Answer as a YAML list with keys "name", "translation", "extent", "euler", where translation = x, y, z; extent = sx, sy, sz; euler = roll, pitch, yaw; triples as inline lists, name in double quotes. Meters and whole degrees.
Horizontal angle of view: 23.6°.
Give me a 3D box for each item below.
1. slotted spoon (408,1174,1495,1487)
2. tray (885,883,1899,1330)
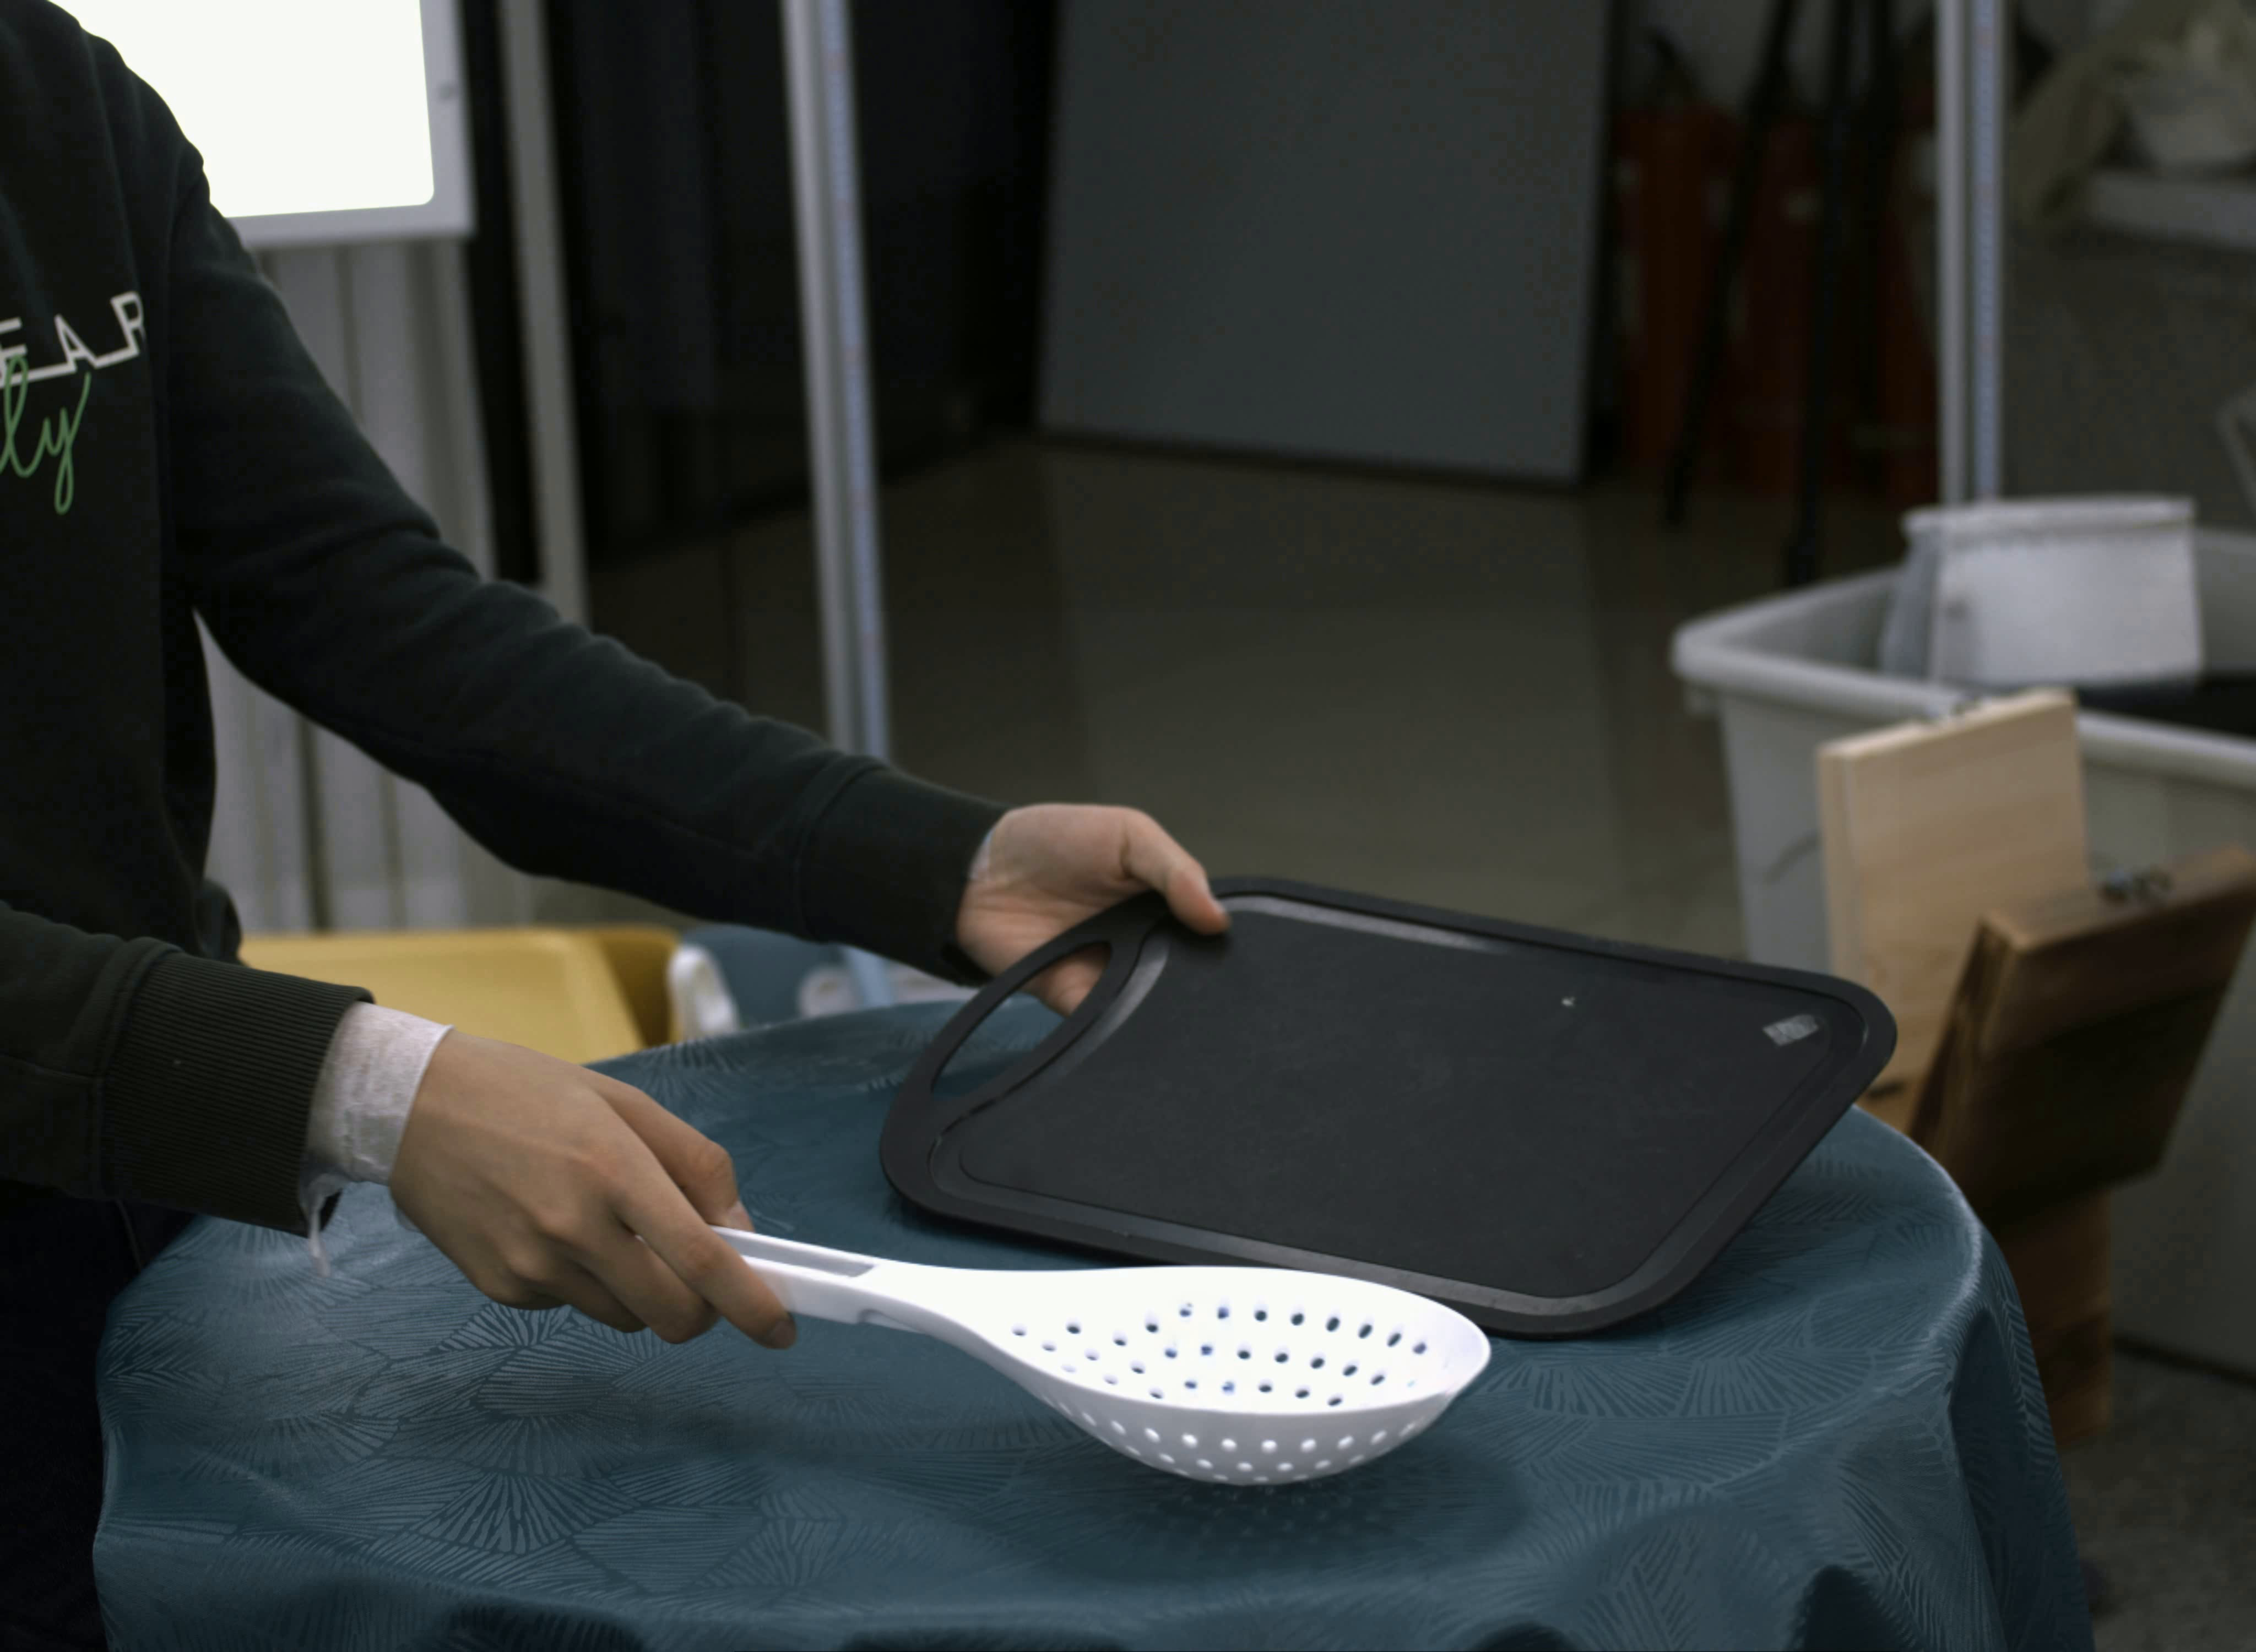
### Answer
- name: "slotted spoon"
  translation: [-0.059, 0.136, 1.553]
  extent: [0.351, 0.046, 0.134]
  euler: [13, 14, 27]
- name: "tray"
  translation: [0.076, 0.084, 1.748]
  extent: [0.327, 0.010, 0.208]
  euler: [8, 36, 37]
